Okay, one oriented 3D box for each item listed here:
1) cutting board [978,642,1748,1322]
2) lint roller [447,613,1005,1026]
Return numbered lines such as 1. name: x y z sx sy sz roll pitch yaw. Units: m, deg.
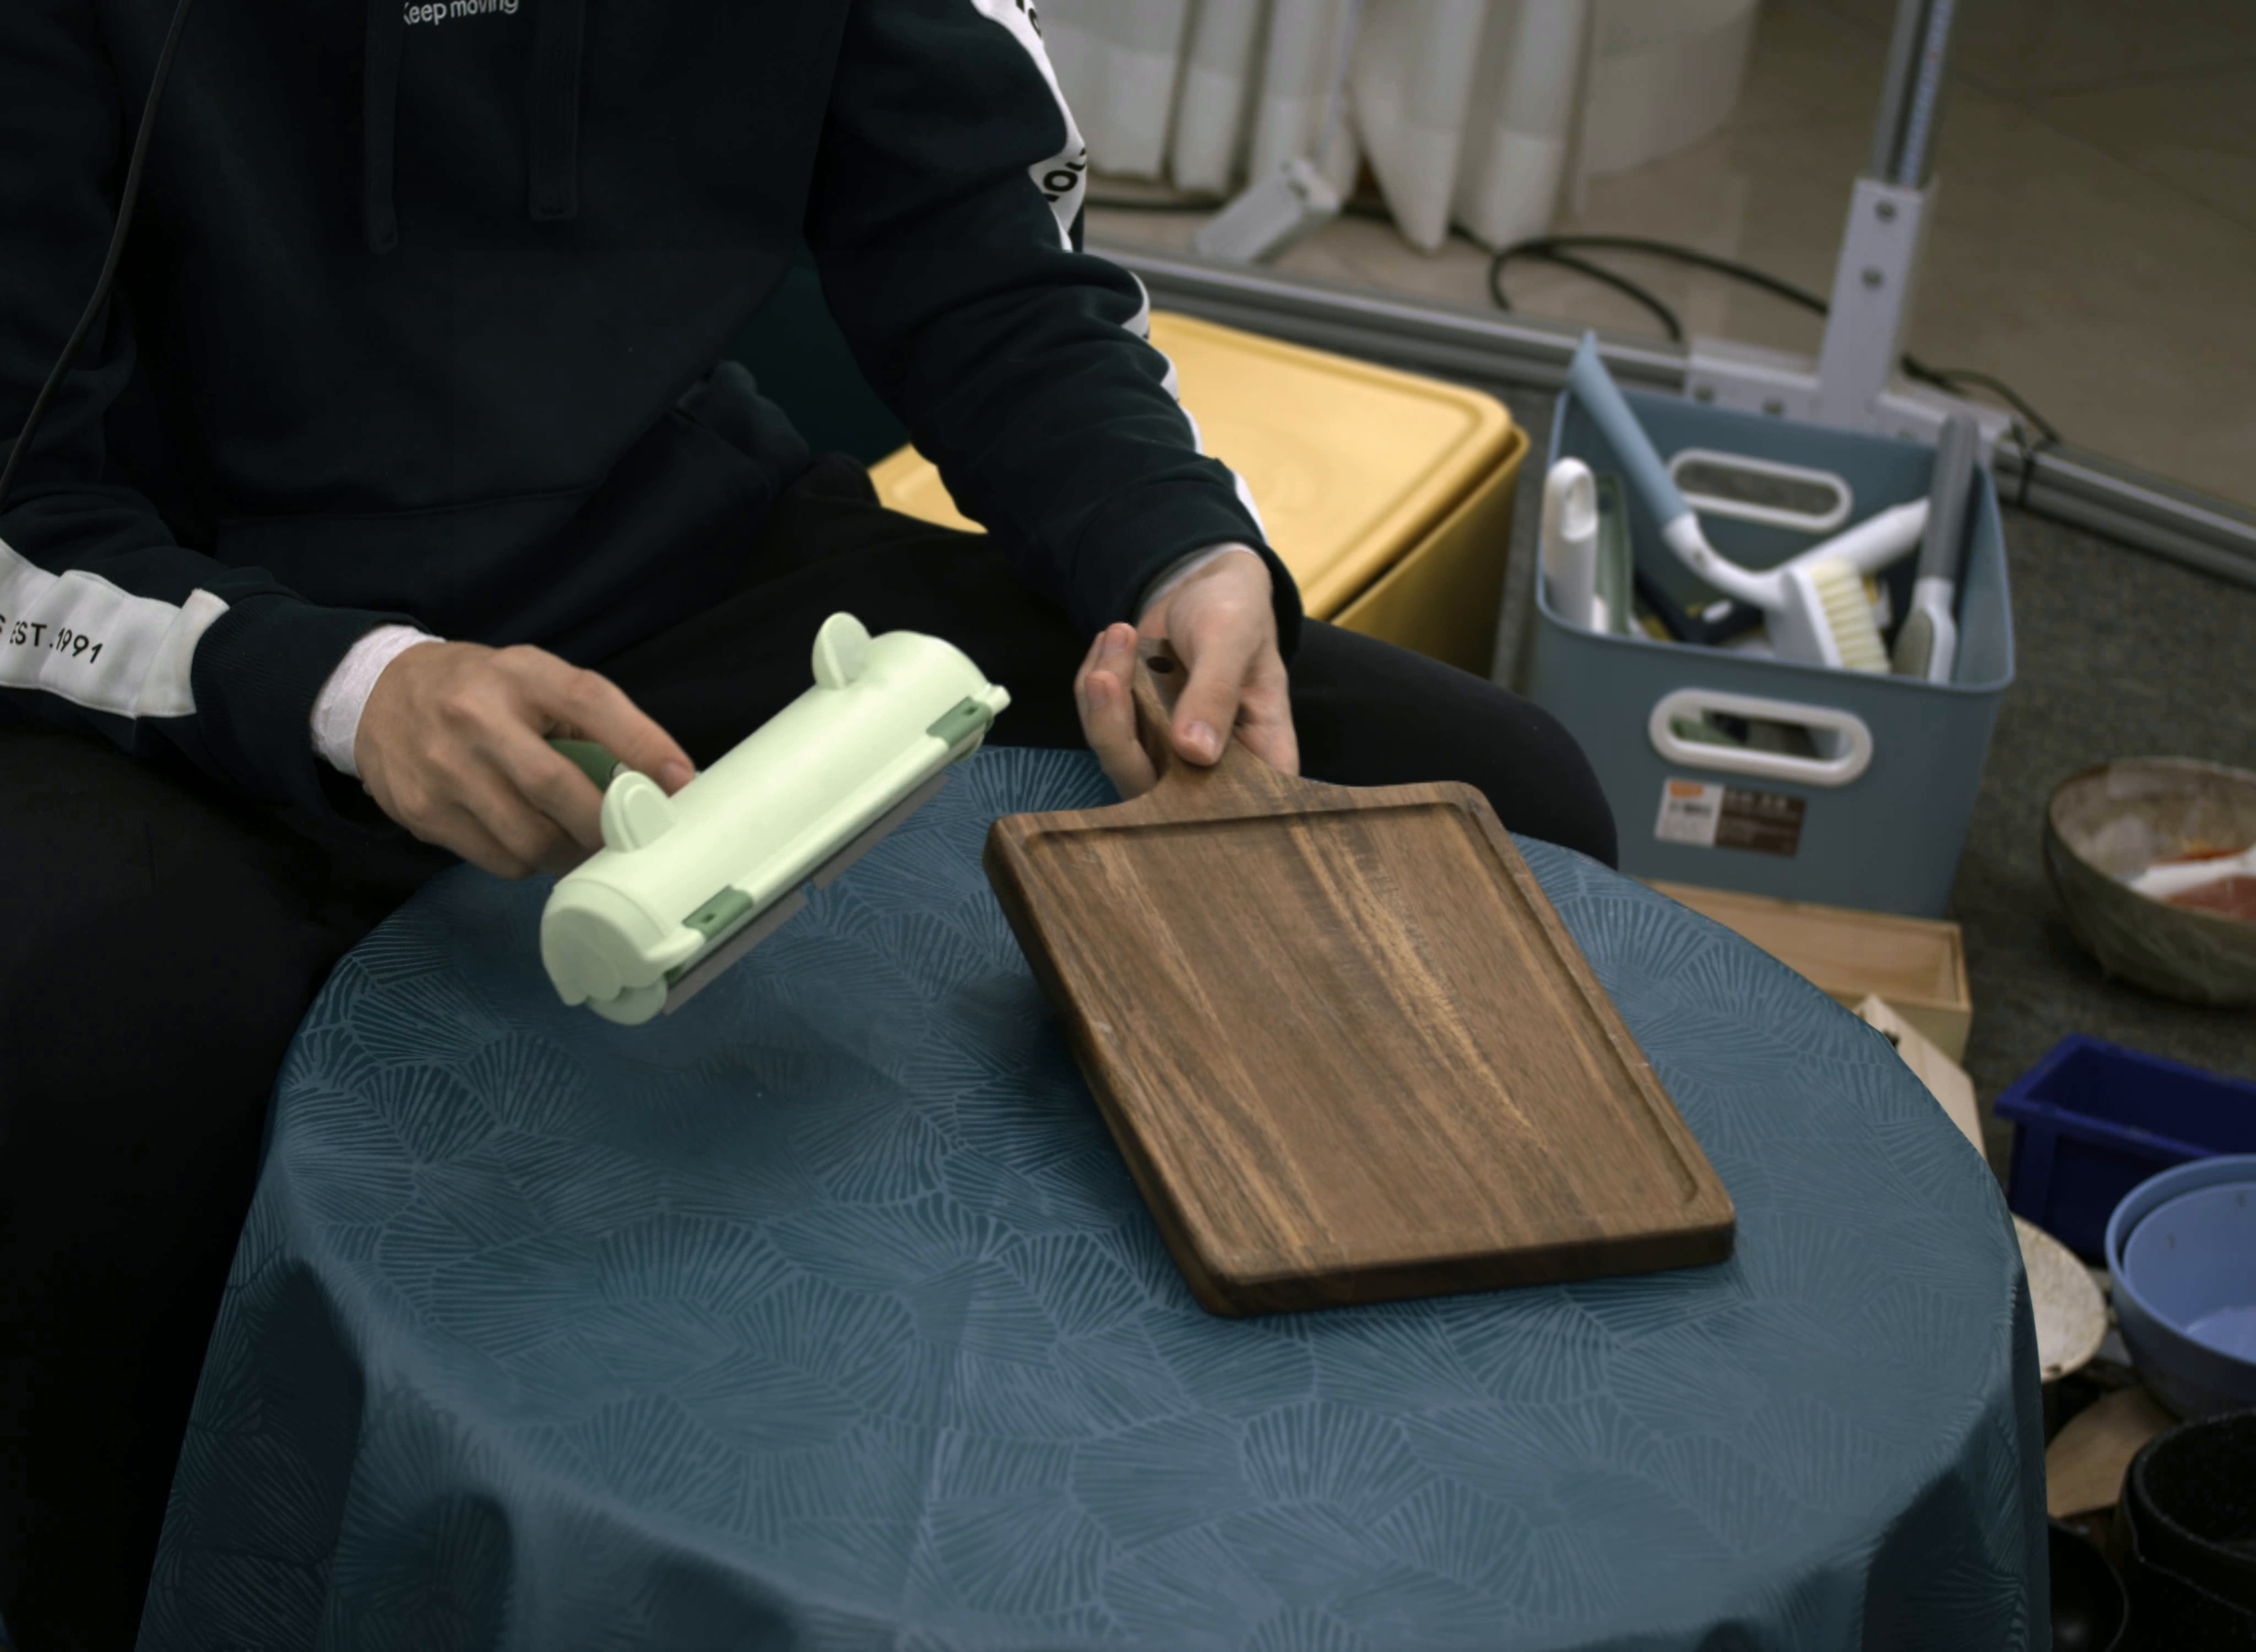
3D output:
1. cutting board: 0.062 0.043 1.885 0.200 0.023 0.355 -5 38 -21
2. lint roller: -0.168 -0.021 1.833 0.184 0.082 0.198 17 39 32
